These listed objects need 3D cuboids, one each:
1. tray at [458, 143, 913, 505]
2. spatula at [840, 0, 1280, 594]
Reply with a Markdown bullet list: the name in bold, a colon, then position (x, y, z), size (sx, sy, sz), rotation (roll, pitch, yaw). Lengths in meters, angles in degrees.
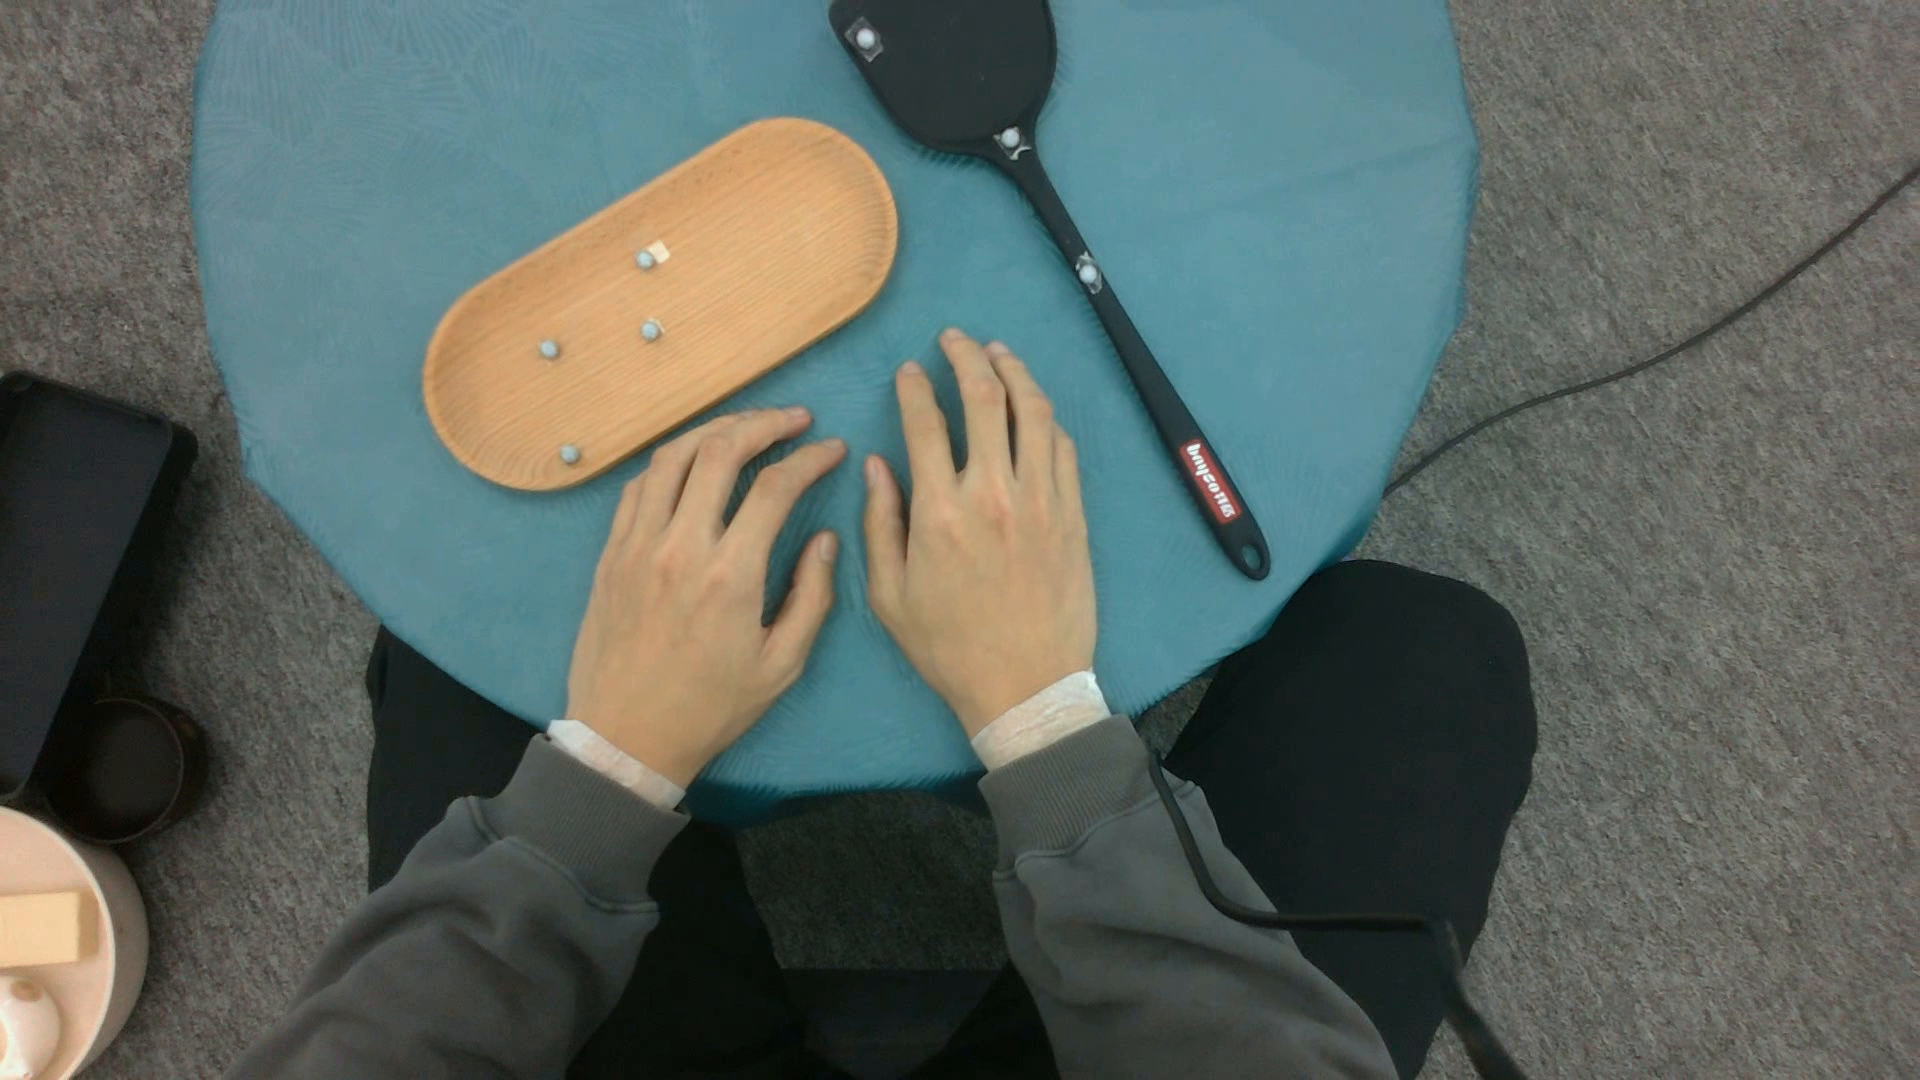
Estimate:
- **tray**: position (-0.128, -0.101, 0.648), size (0.231, 0.020, 0.102), rotation (-33, 86, -5)
- **spatula**: position (0.063, -0.117, 0.641), size (0.100, 0.040, 0.326), rotation (-30, 85, -2)
